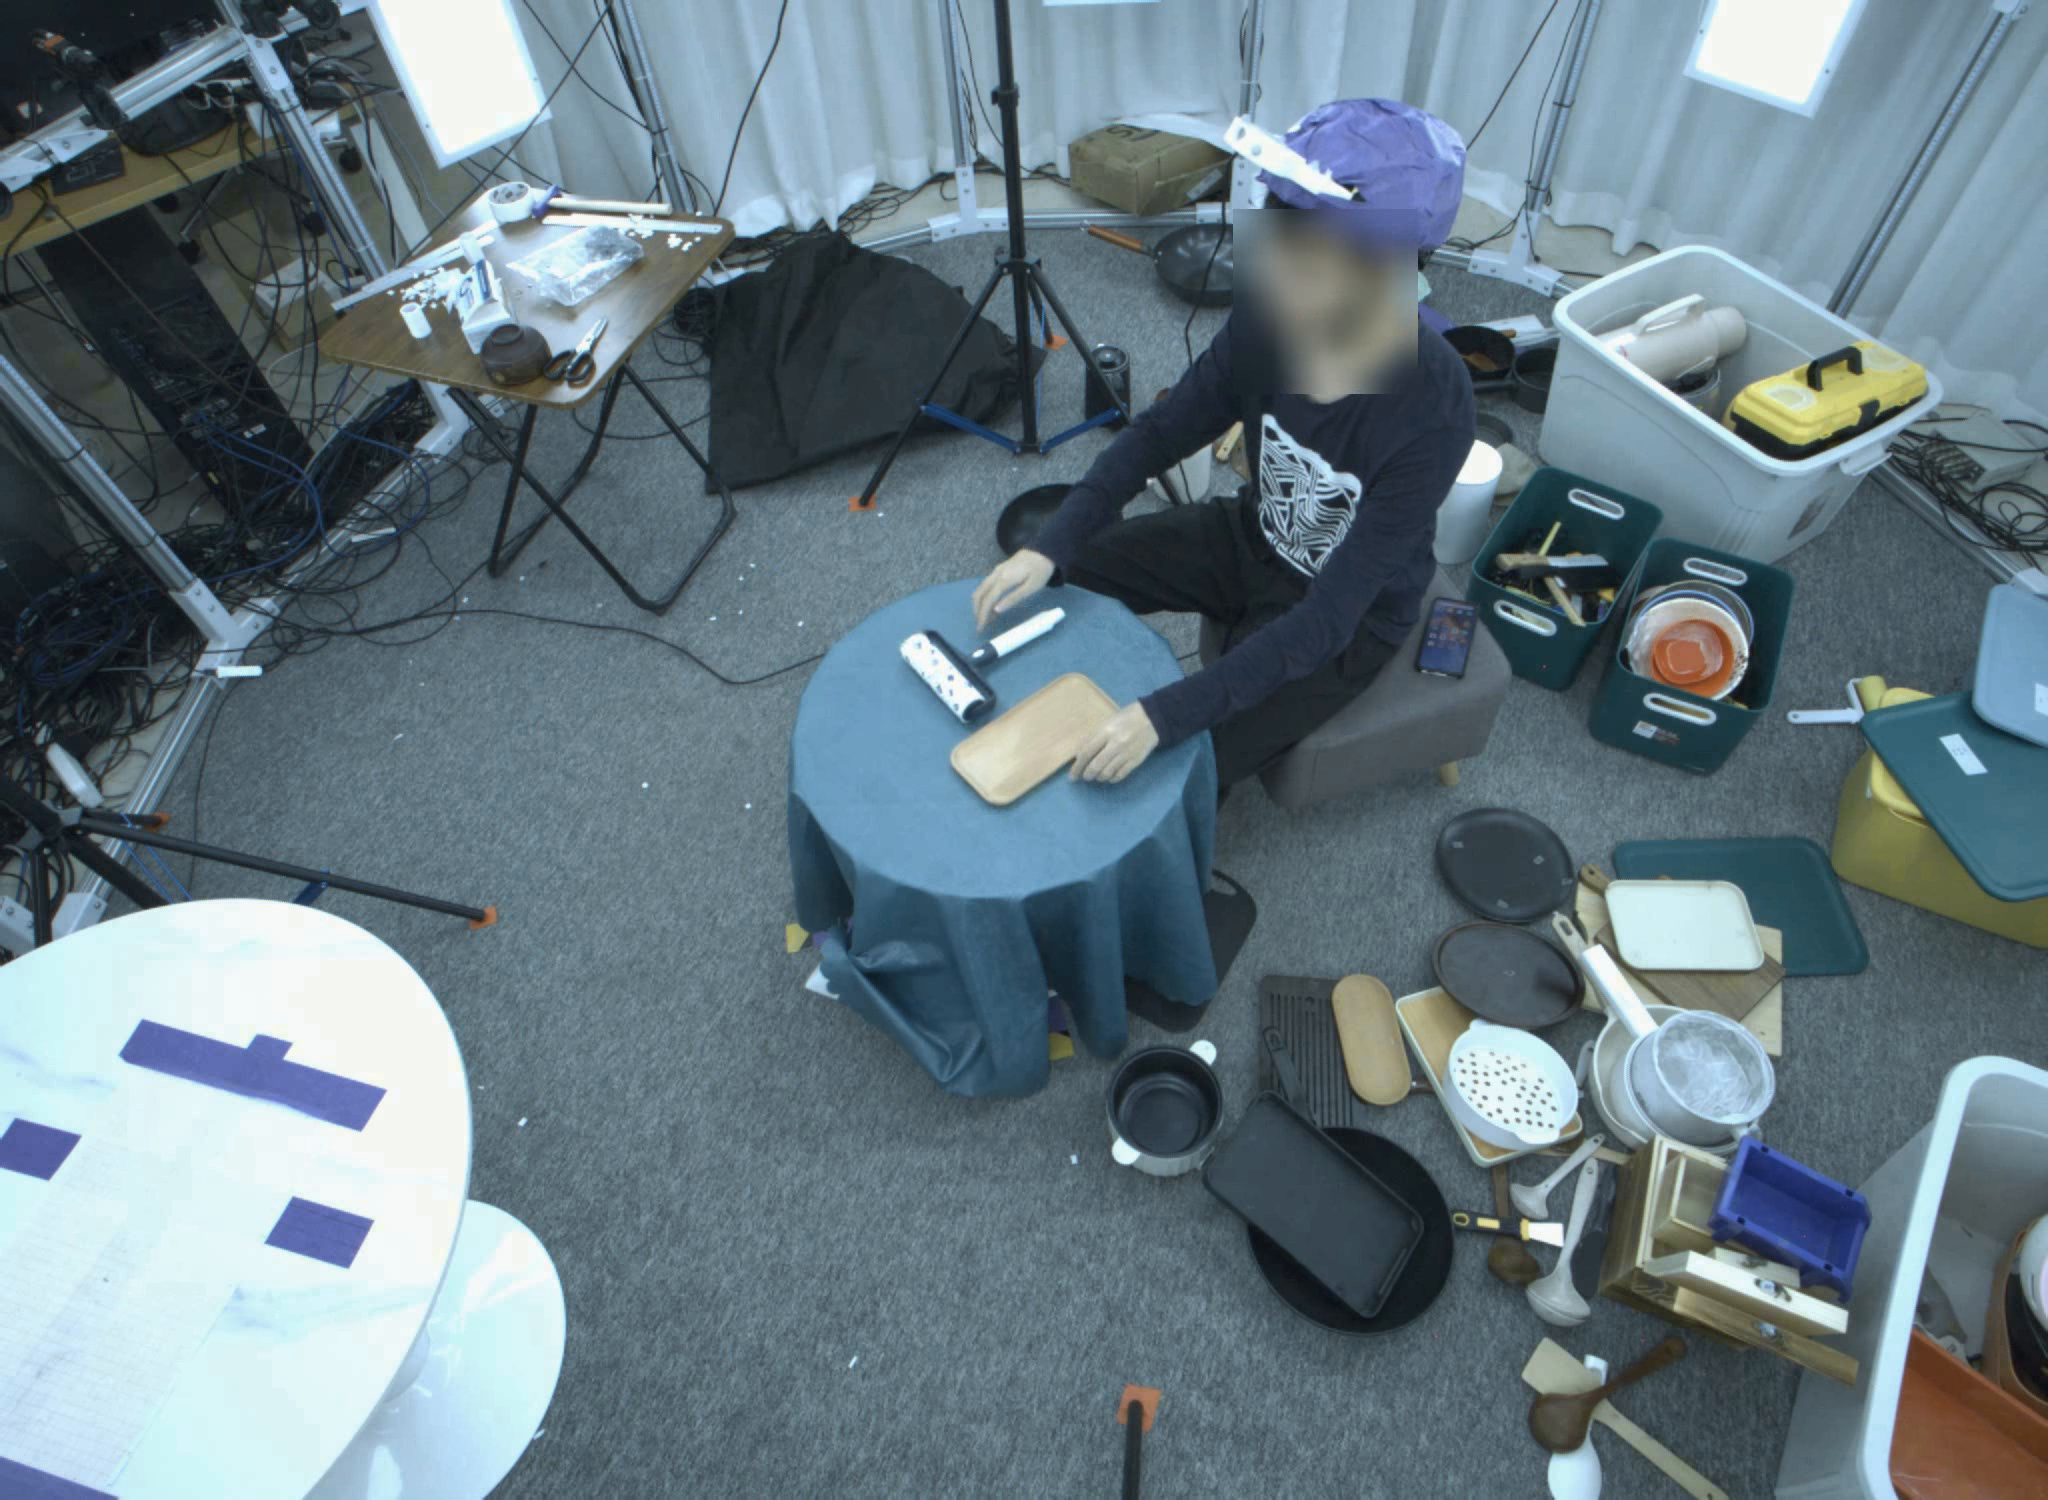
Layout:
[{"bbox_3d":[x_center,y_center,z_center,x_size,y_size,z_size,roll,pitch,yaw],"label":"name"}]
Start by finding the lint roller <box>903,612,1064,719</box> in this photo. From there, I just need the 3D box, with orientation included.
[{"bbox_3d":[-0.042,-0.159,1.886,0.249,0.051,0.173,-31,59,-23],"label":"lint roller"}]

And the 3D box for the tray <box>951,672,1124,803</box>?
[{"bbox_3d":[0.020,-0.020,1.799,0.253,0.023,0.128,-32,63,-21],"label":"tray"}]
